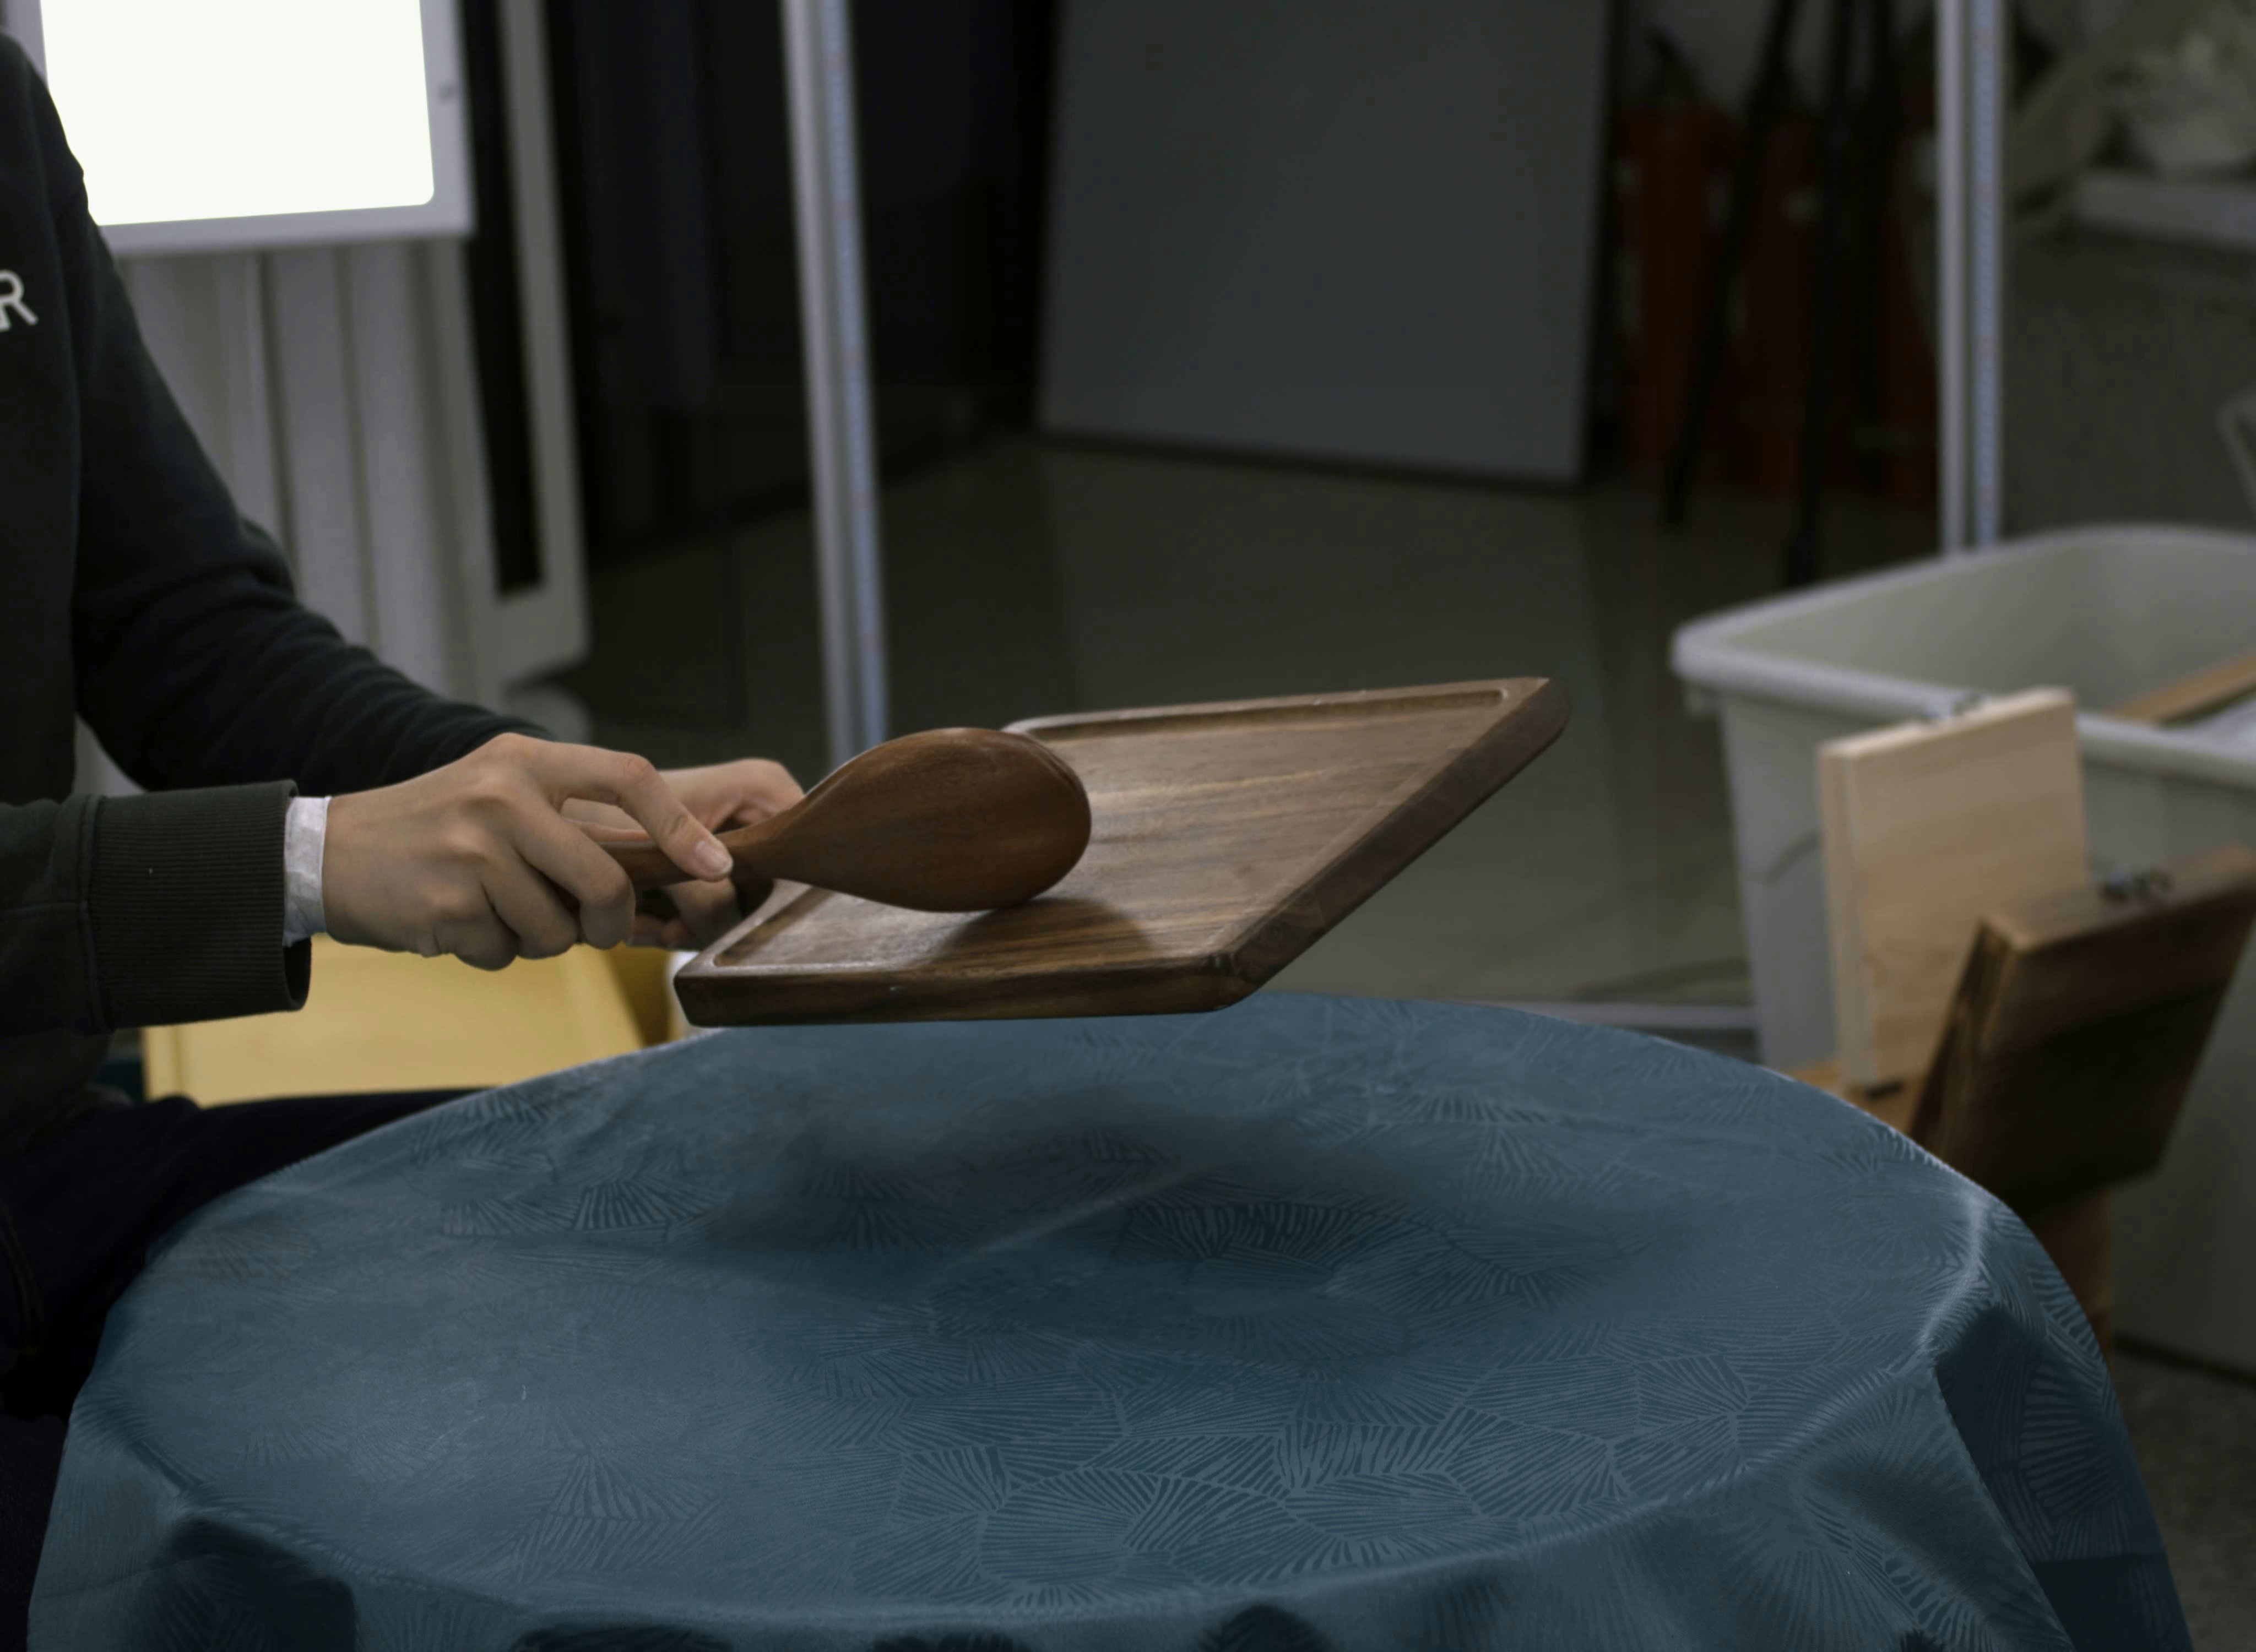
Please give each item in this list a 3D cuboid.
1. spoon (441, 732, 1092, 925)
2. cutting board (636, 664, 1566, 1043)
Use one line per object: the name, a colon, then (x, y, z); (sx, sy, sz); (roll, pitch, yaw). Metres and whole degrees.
spoon: (-0.116, 0.009, 1.724); (0.214, 0.075, 0.017); (-7, 43, 12)
cutting board: (-0.038, 0.012, 1.792); (0.355, 0.023, 0.198); (-5, 26, 44)
